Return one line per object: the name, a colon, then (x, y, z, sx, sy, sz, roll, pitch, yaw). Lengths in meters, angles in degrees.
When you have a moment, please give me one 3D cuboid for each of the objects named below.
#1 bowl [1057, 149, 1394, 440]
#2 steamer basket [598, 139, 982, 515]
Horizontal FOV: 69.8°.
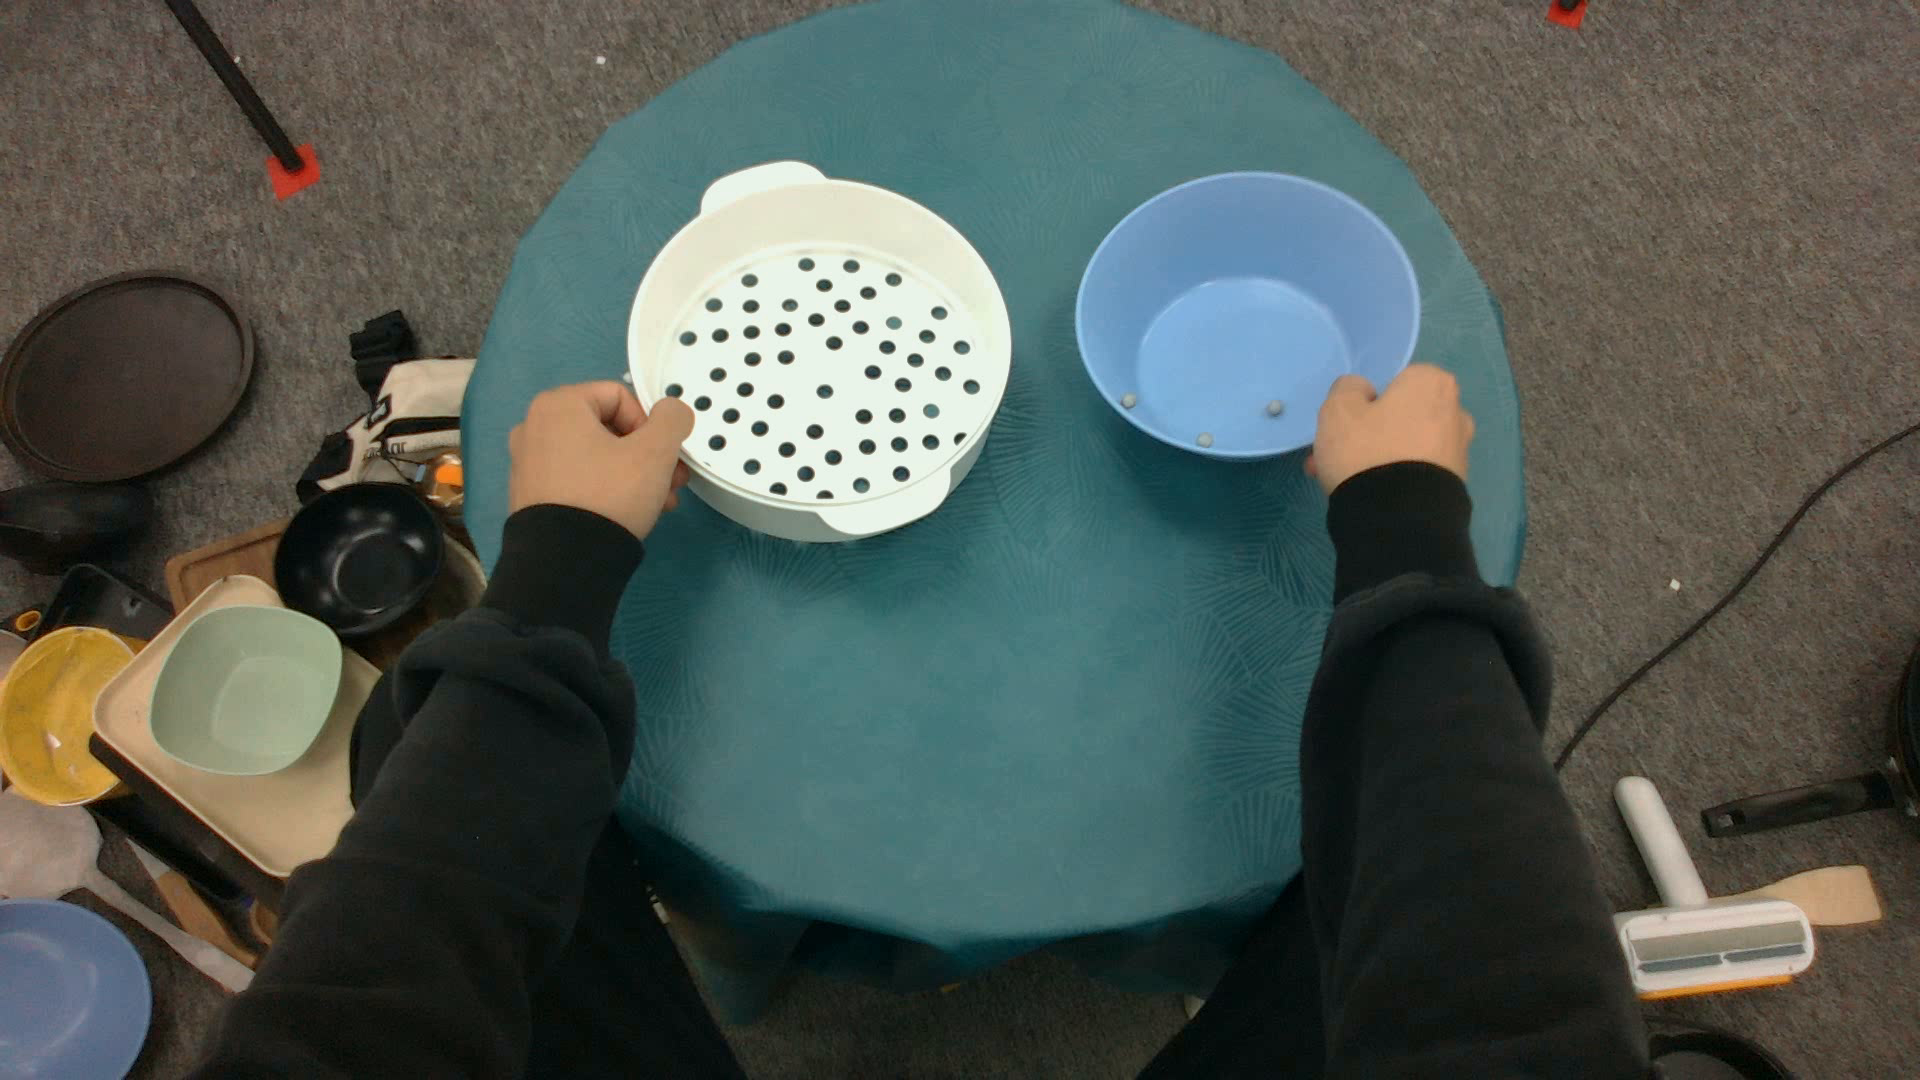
bowl: (0.144, -0.122, 0.754, 0.176, 0.070, 0.176, -4, 67, 9)
steamer basket: (-0.090, -0.110, 0.752, 0.202, 0.069, 0.231, -19, 69, -13)
